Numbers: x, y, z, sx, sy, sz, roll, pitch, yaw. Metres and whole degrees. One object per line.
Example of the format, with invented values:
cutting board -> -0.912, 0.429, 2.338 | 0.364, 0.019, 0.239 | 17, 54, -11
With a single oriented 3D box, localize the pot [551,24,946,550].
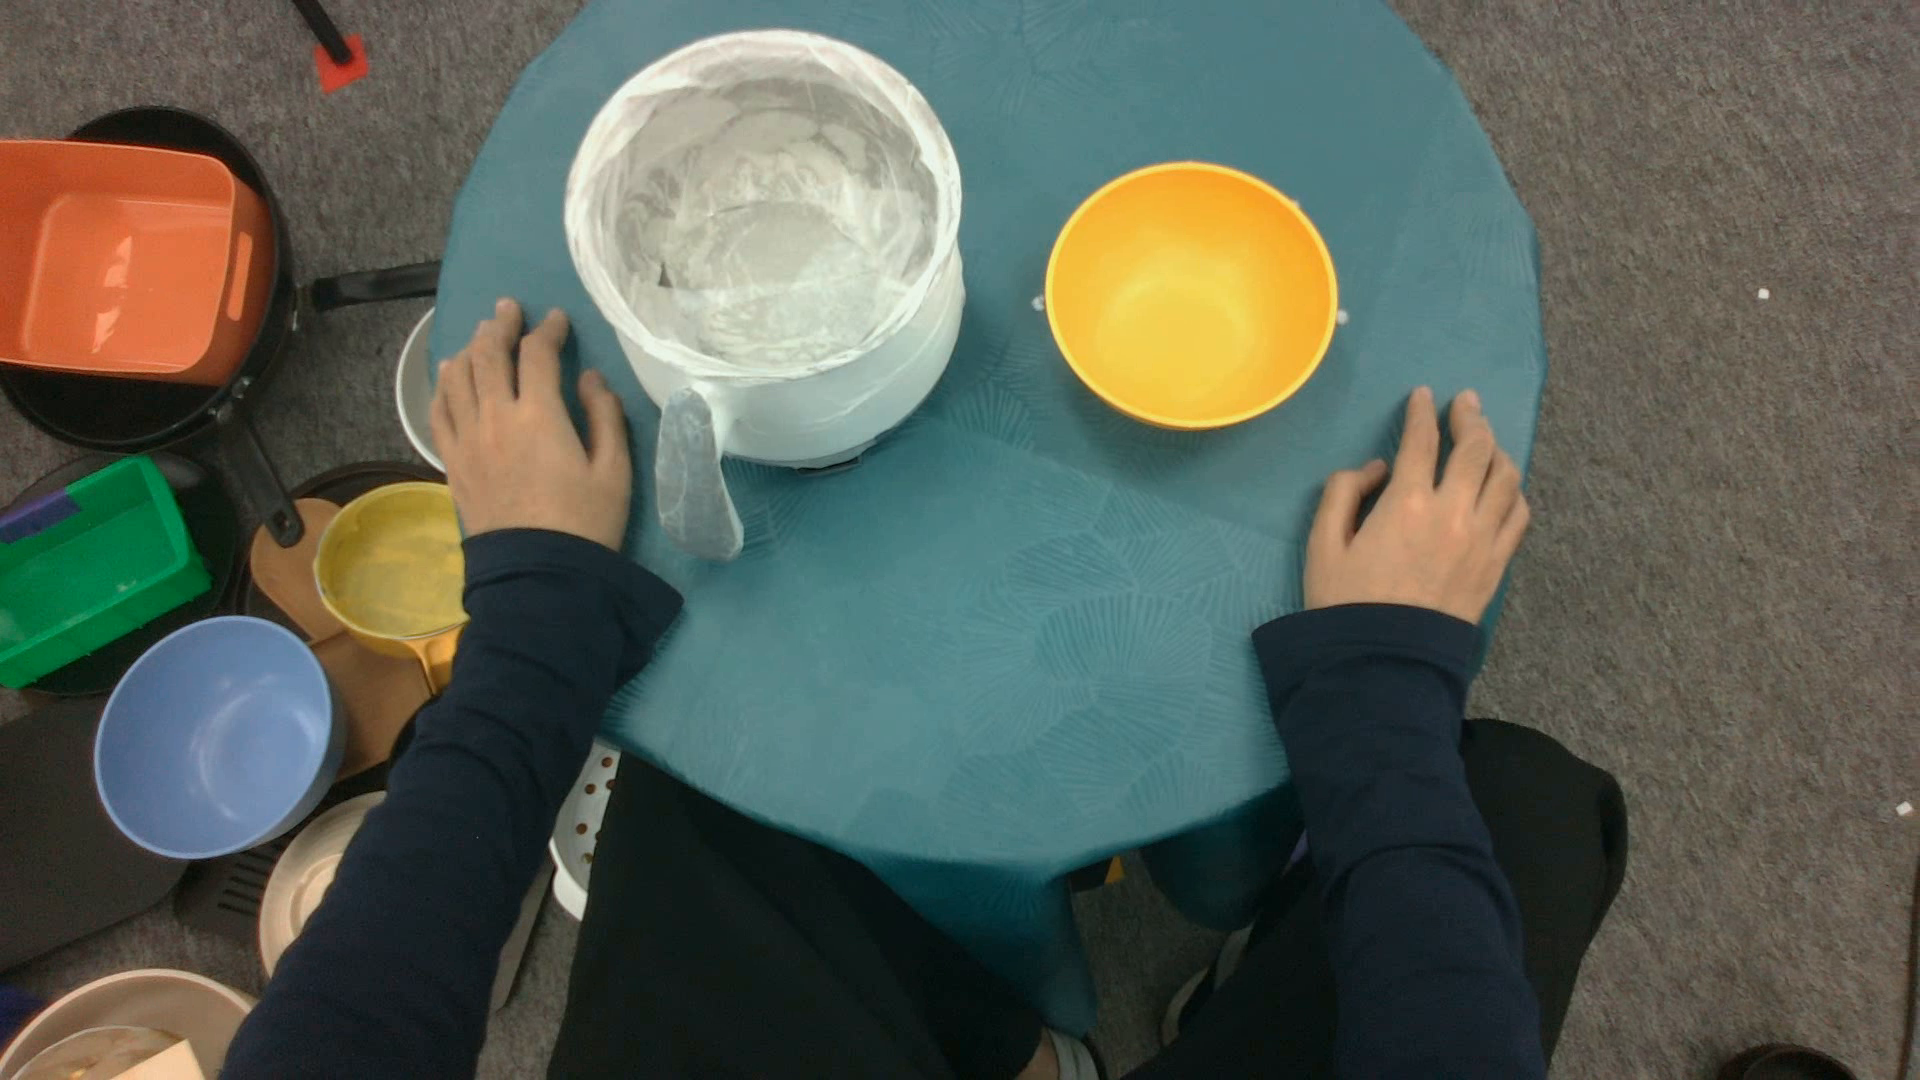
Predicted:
pot -> -0.103, -0.114, 0.674 | 0.178, 0.136, 0.234 | 15, 75, 4

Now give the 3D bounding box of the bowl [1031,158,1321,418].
bowl -> 0.108, -0.121, 0.714 | 0.145, 0.060, 0.145 | 0, 71, 1
